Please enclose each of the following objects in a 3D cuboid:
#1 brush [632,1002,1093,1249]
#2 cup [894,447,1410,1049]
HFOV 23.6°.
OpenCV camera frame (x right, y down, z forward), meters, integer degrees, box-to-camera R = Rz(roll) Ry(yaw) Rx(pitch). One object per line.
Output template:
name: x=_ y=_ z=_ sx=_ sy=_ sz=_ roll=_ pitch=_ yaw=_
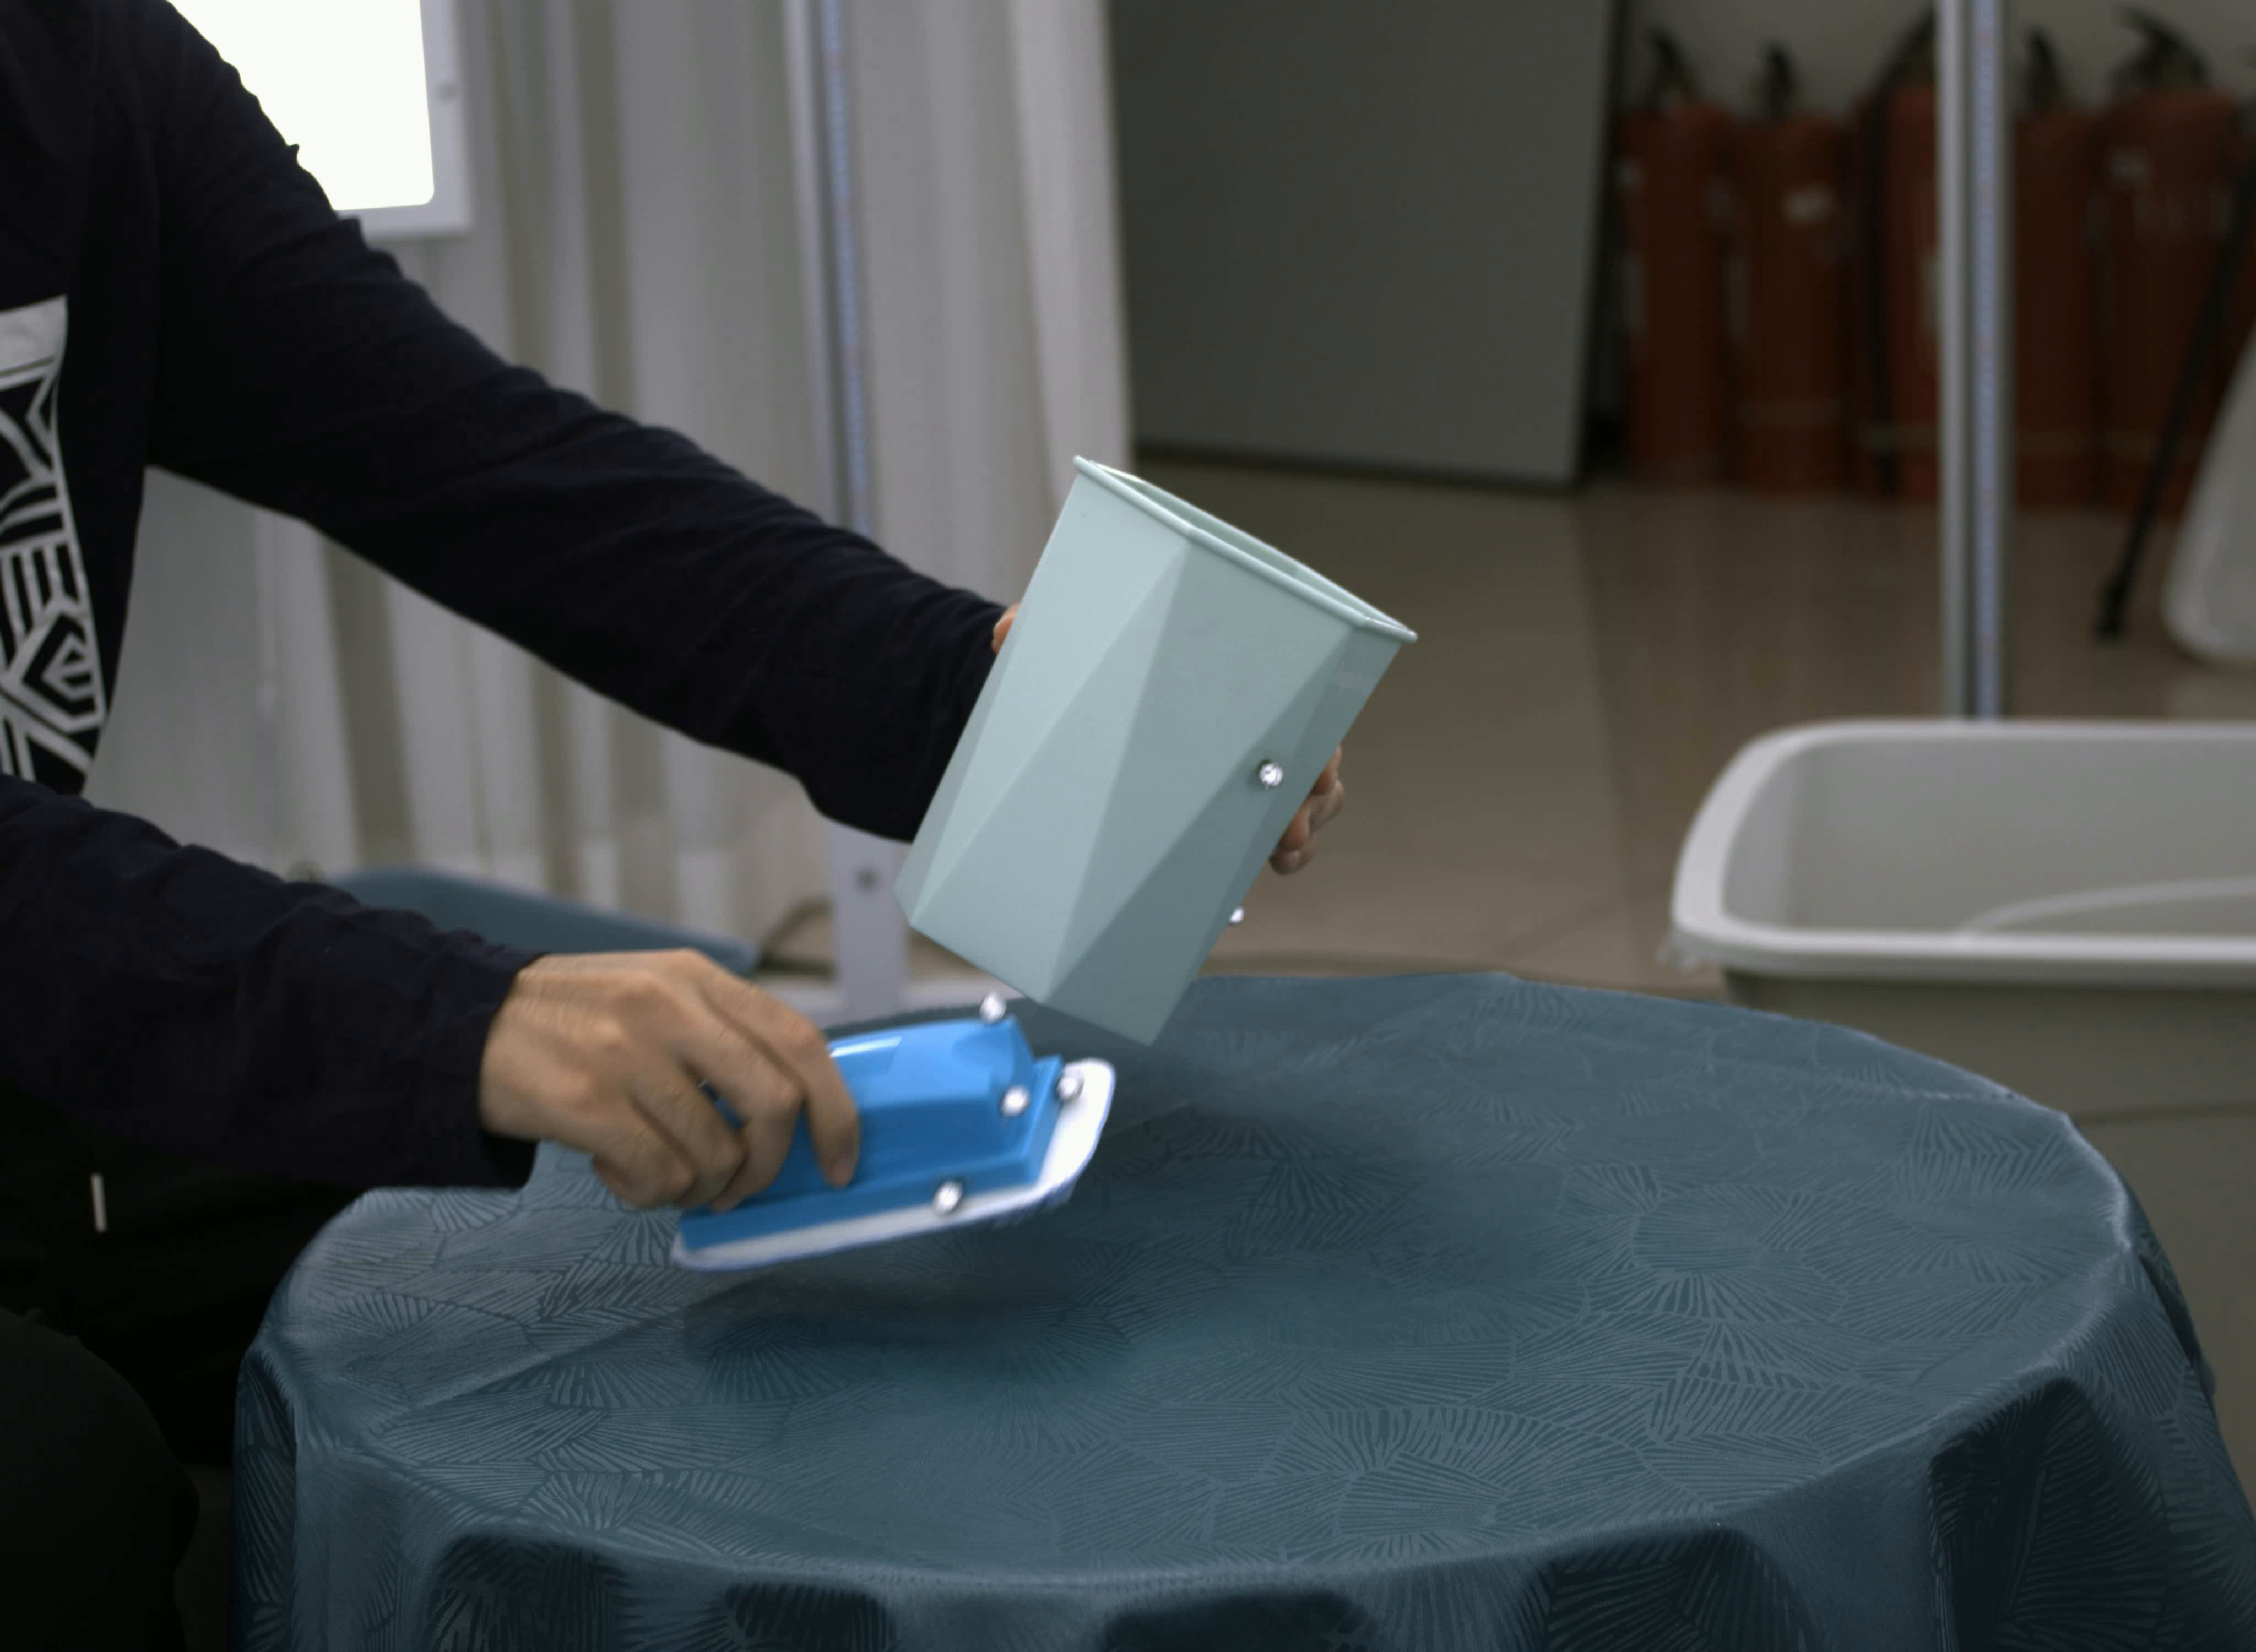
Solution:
brush: x=-0.086 y=0.088 z=1.672 sx=0.144 sy=0.056 sz=0.083 roll=-10 pitch=24 yaw=21
cup: x=0.002 y=-0.023 z=1.779 sx=0.115 sy=0.164 sz=0.129 roll=29 pitch=6 yaw=17
